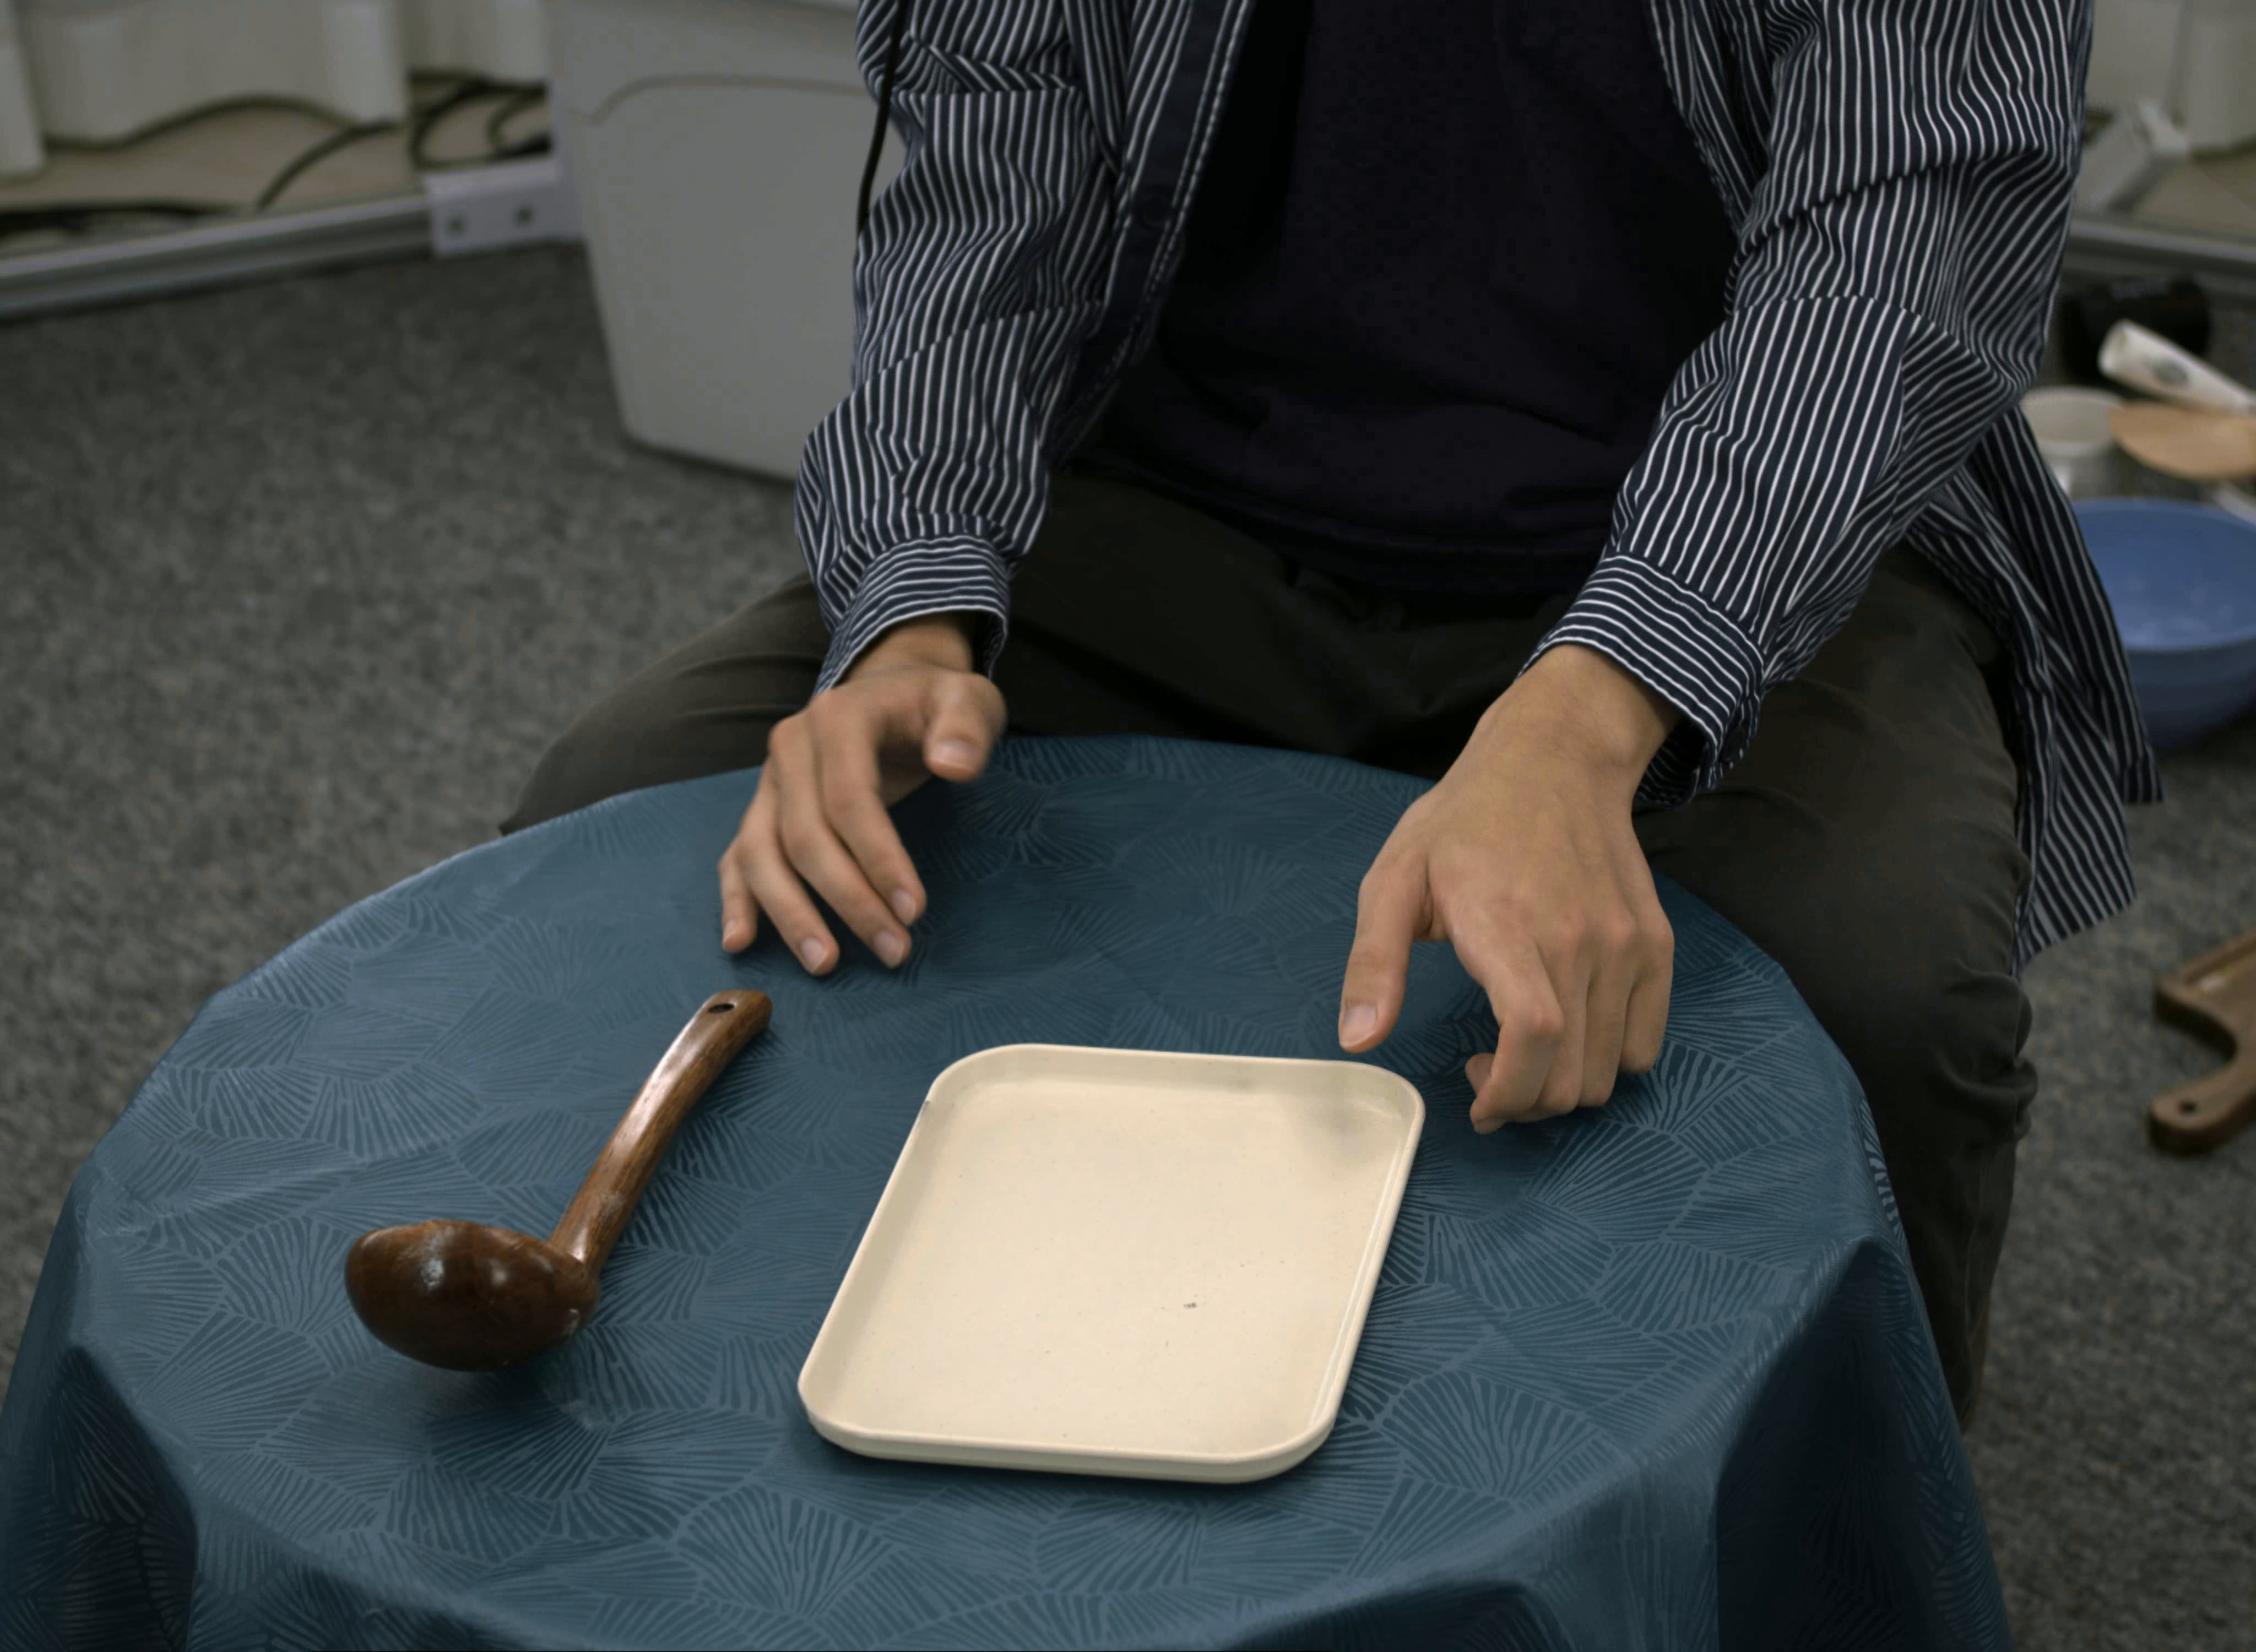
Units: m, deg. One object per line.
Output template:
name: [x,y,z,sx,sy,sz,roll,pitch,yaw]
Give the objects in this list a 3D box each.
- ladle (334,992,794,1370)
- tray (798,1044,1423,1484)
ladle: [-0.176,0.096,1.840,0.081,0.076,0.279,2,28,19]
tray: [-0.002,0.139,1.803,0.170,0.017,0.244,3,28,11]
